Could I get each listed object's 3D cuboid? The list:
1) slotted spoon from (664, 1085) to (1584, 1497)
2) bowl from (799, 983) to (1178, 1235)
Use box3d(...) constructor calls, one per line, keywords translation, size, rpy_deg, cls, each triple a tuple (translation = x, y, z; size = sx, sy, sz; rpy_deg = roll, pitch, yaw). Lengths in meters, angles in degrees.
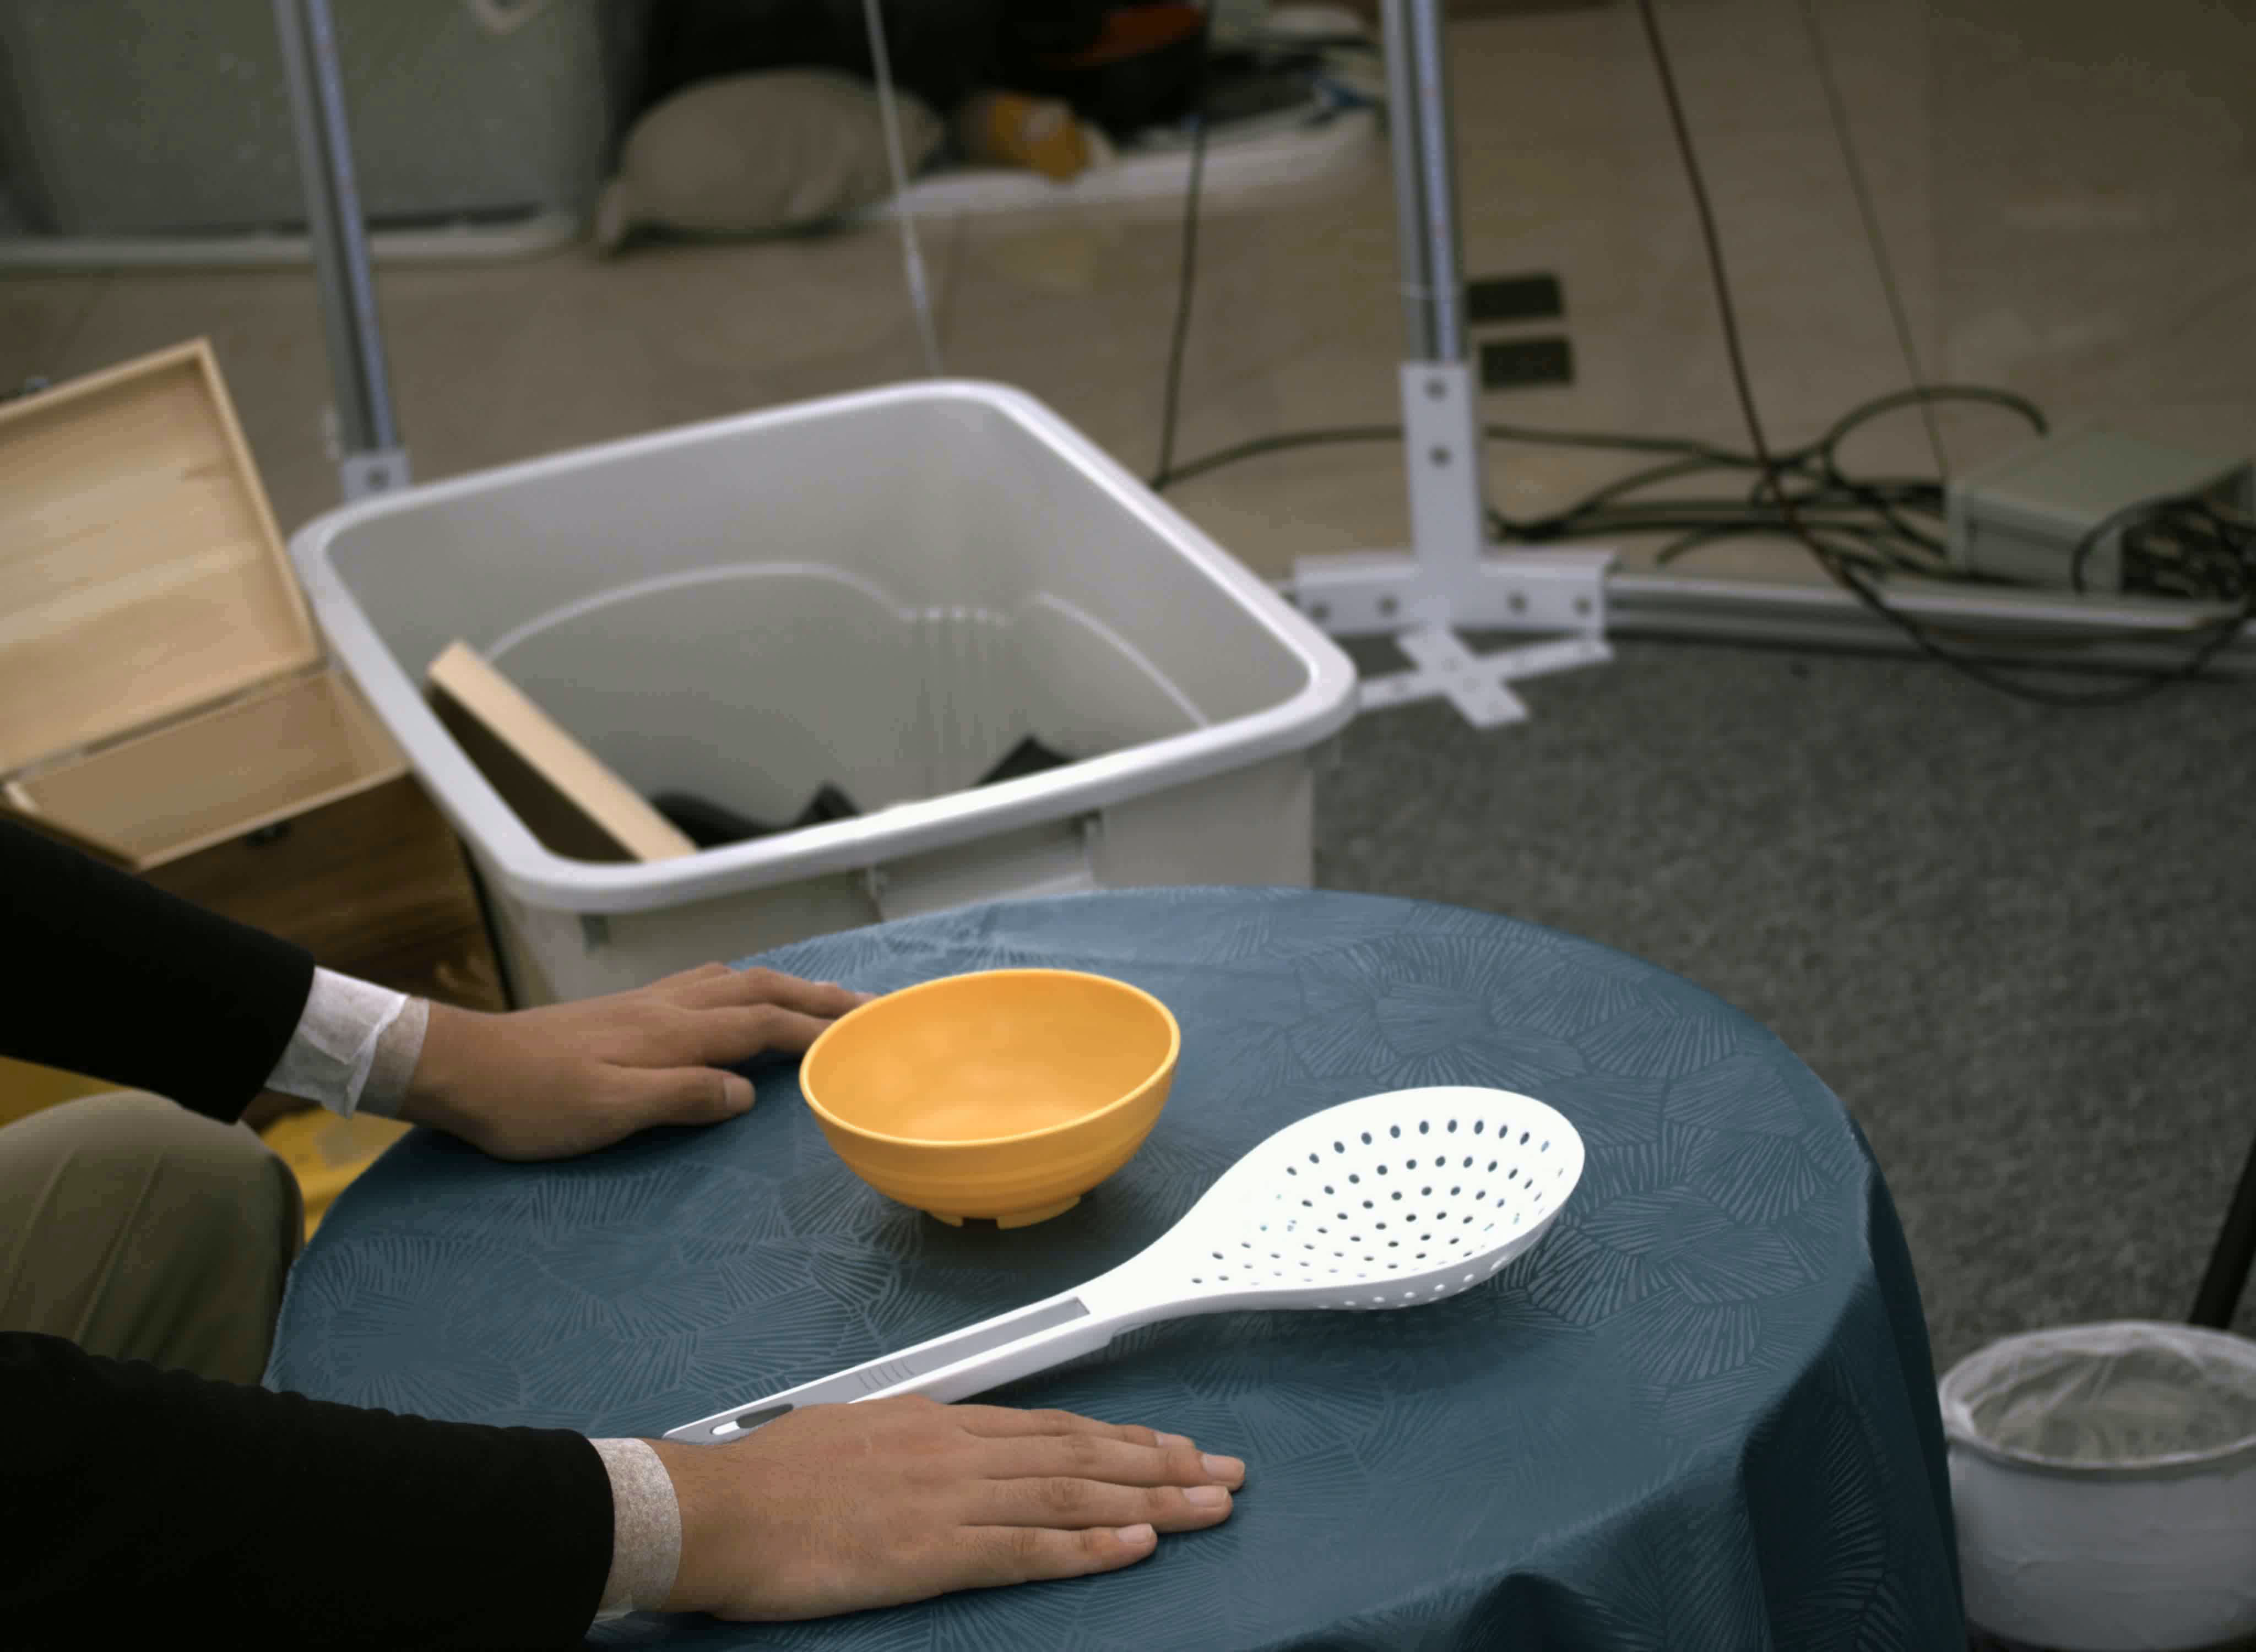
box3d(translation=(0.000, 0.170, 2.027), size=(0.348, 0.046, 0.134), rpy_deg=(-15, 25, -16), cls="slotted spoon")
box3d(translation=(-0.050, 0.114, 2.147), size=(0.145, 0.061, 0.143), rpy_deg=(-5, 23, 2), cls="bowl")
